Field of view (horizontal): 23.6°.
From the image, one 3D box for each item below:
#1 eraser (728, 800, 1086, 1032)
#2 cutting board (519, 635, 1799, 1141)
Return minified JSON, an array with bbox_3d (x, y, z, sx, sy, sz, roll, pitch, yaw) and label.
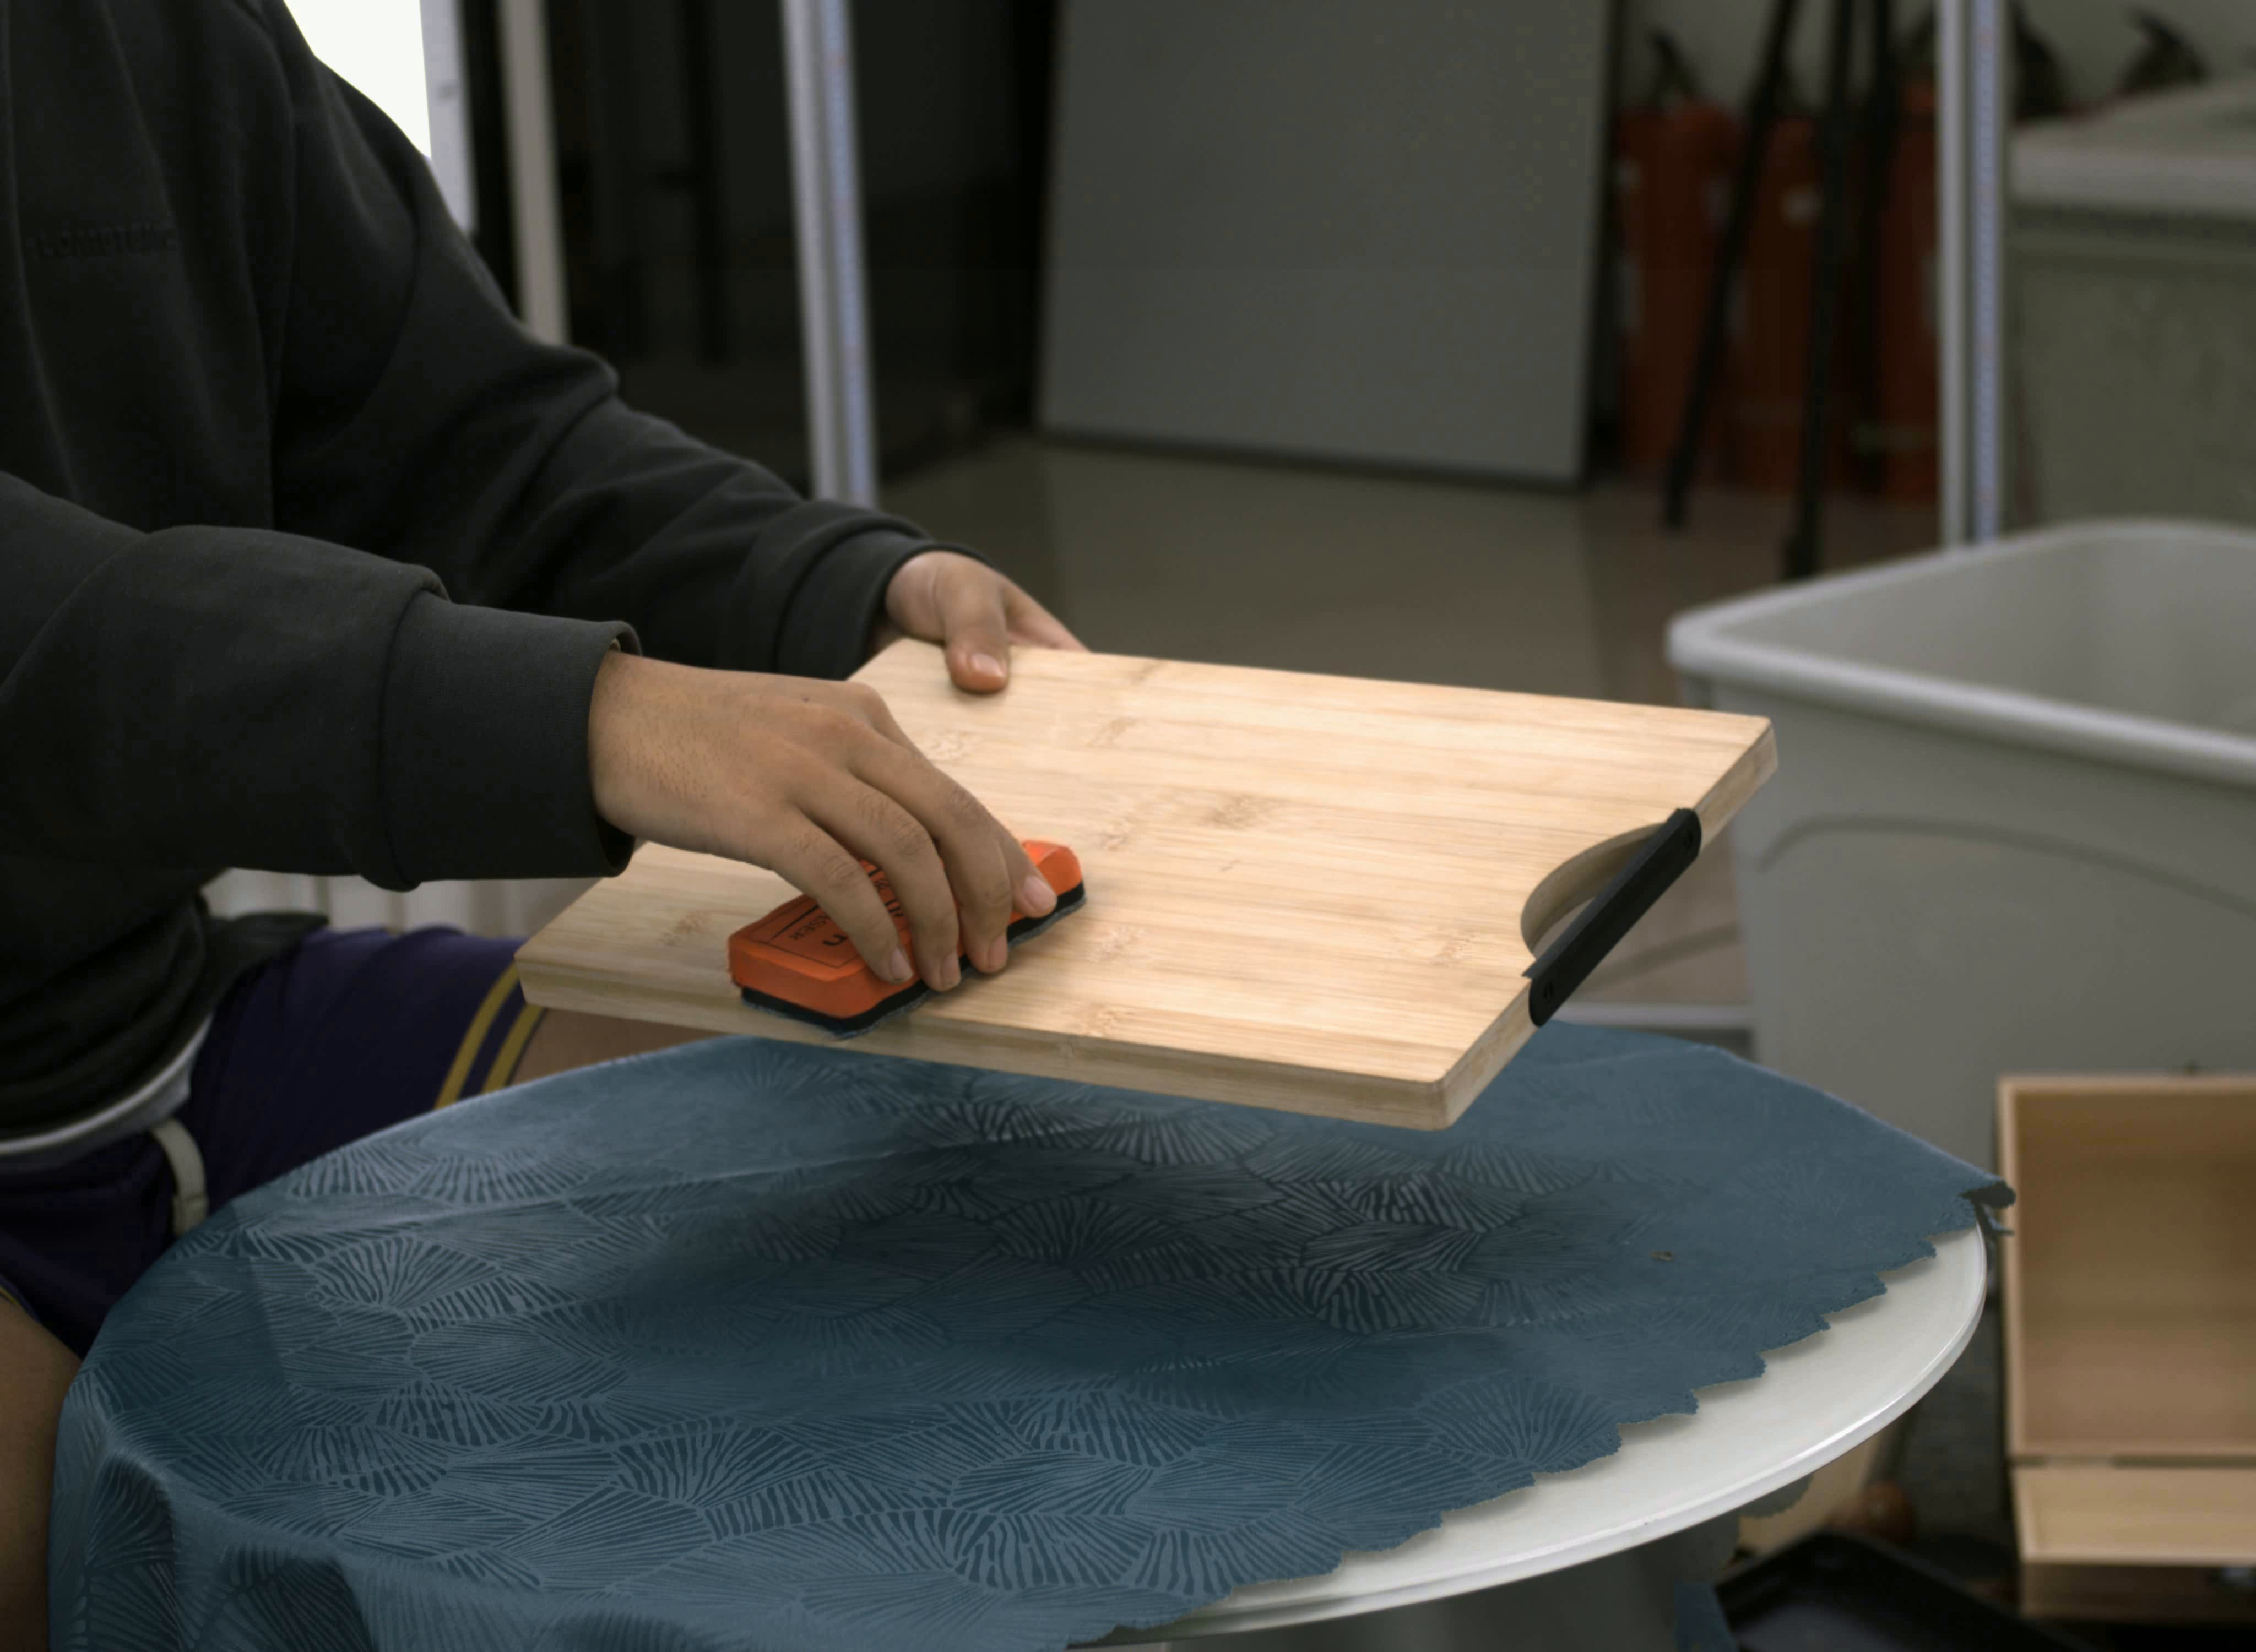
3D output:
[{"bbox_3d":[-0.068,0.027,1.669,0.106,0.023,0.059,-30,30,-35],"label":"eraser"},{"bbox_3d":[0.011,0.012,1.716,0.350,0.024,0.248,5,30,32],"label":"cutting board"}]
